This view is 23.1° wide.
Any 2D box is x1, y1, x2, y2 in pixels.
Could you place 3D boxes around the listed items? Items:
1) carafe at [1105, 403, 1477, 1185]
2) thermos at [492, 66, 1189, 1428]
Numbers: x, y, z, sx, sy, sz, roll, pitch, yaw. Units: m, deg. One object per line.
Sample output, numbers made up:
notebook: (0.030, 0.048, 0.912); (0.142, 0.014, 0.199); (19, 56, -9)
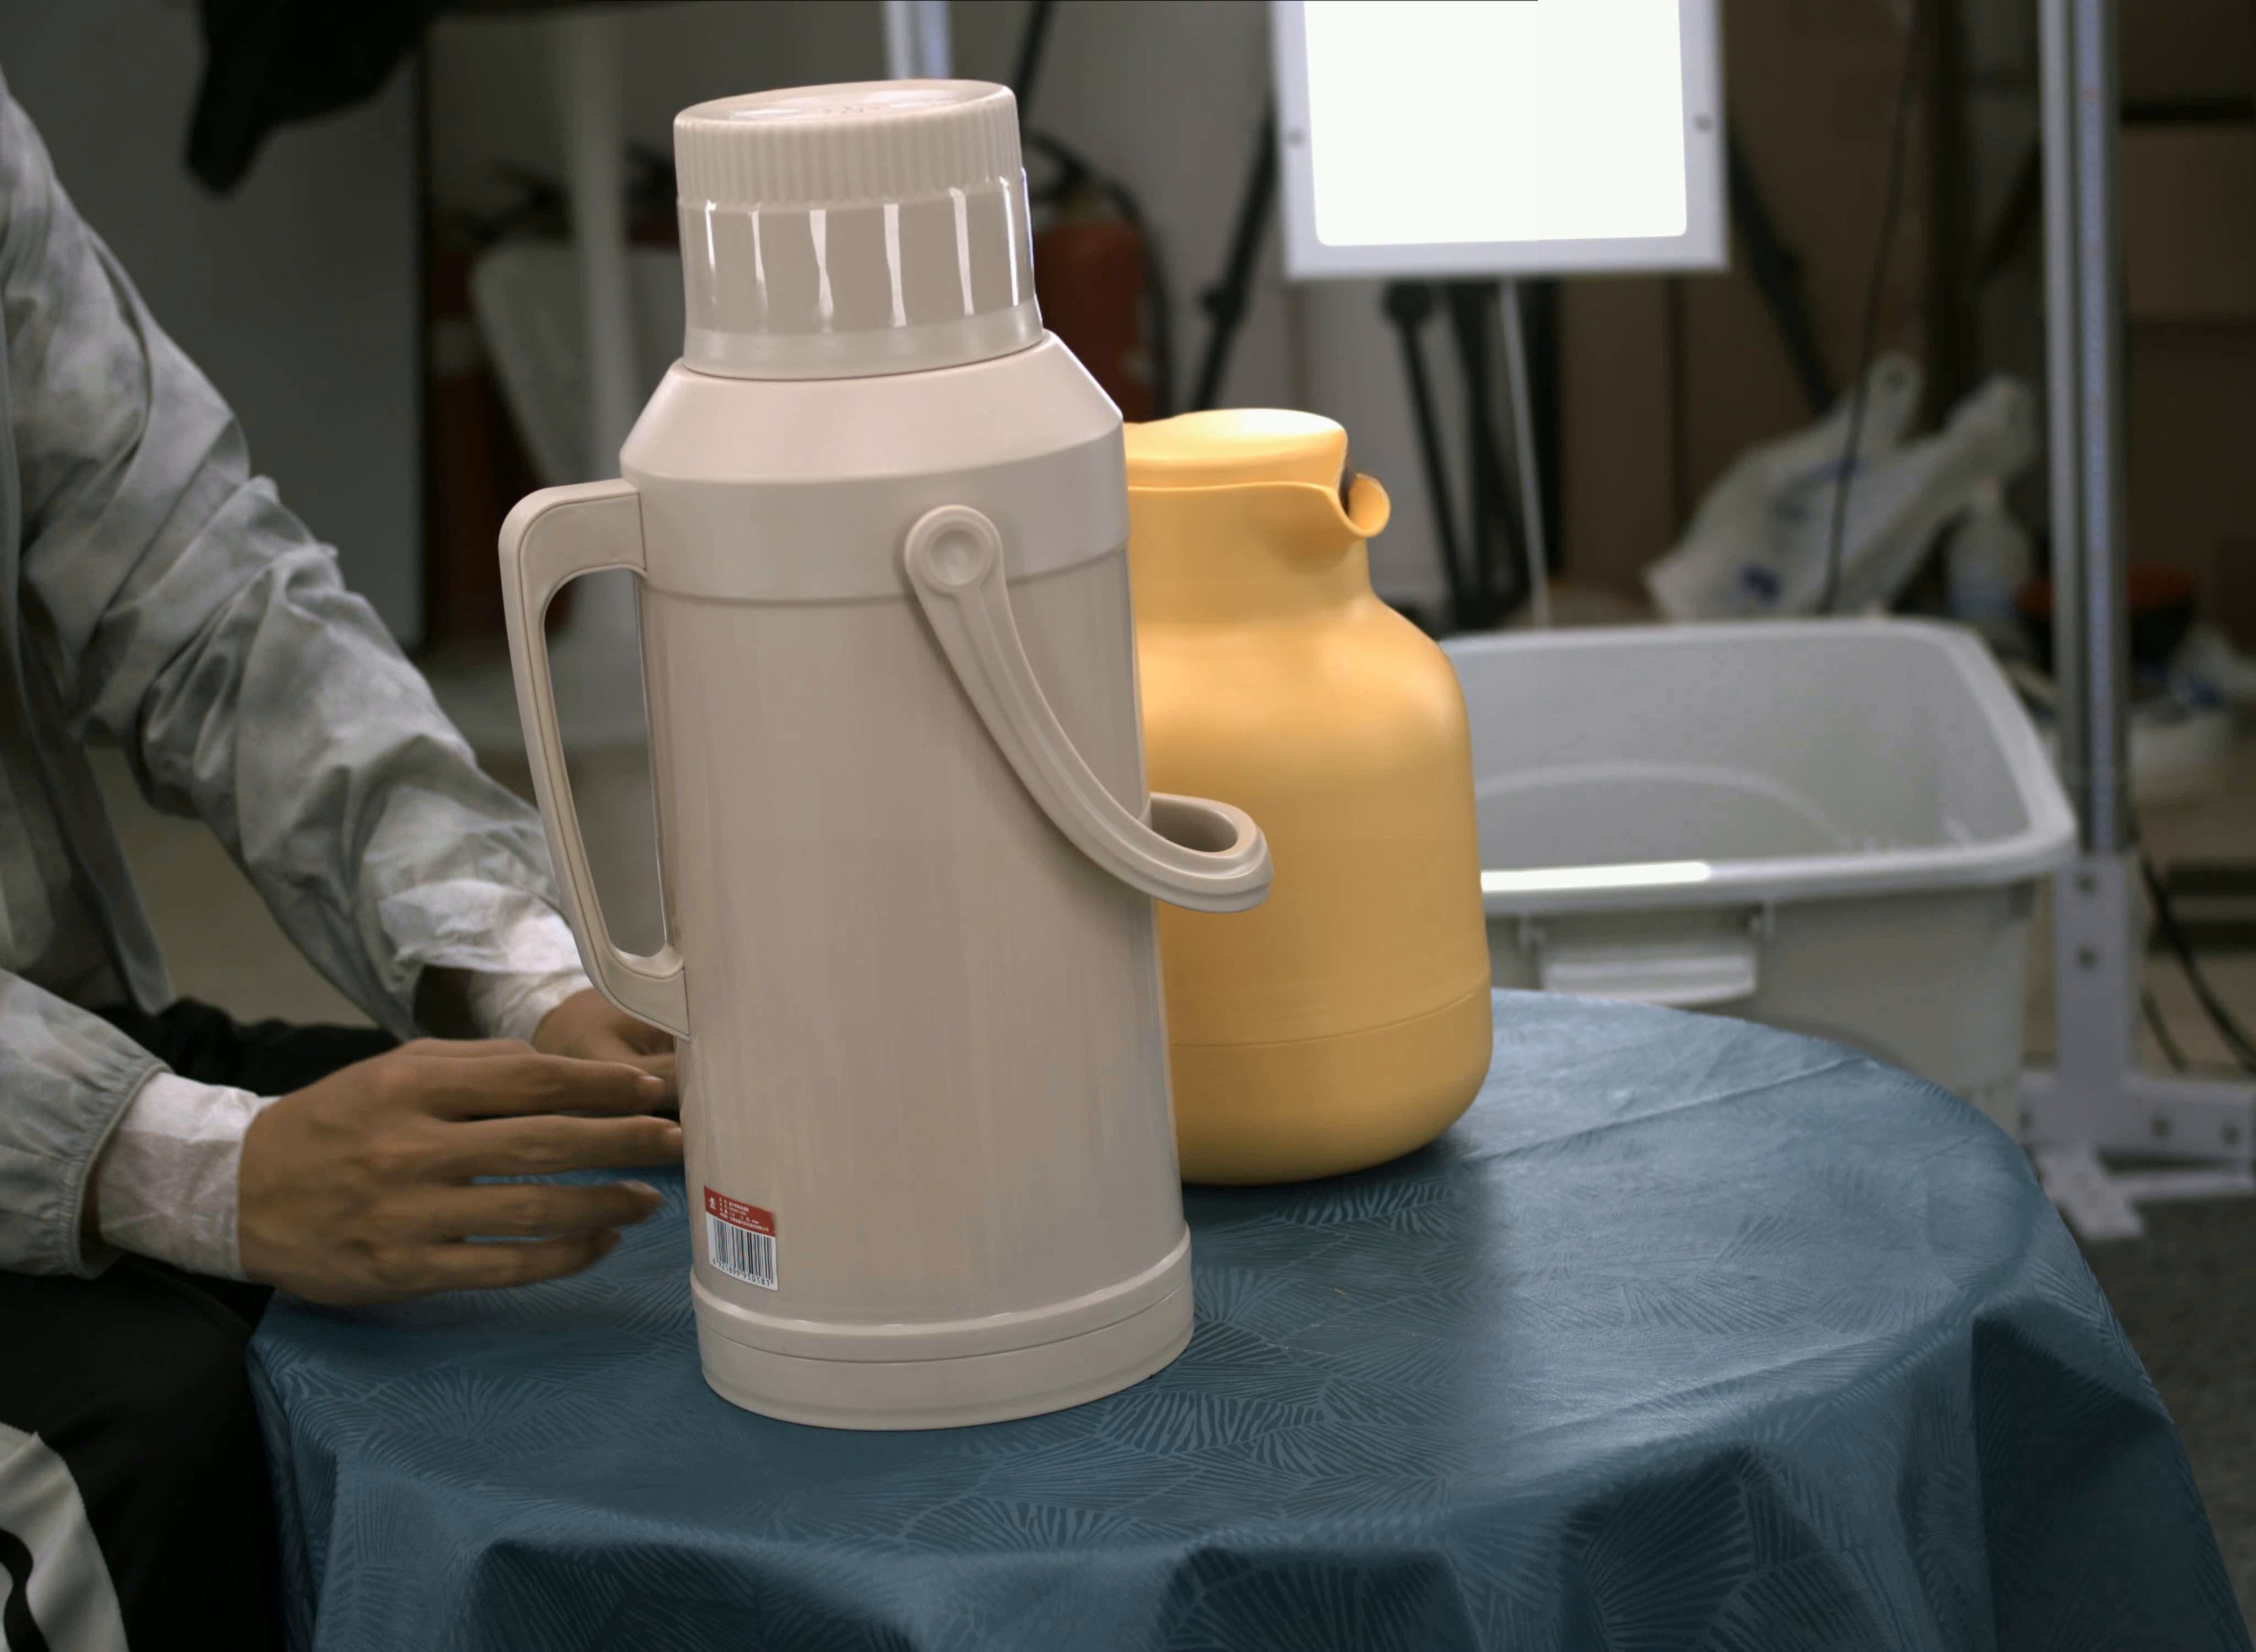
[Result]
carafe: (0.027, -0.018, 1.927); (0.159, 0.261, 0.206); (-12, 16, -37)
thermos: (-0.087, -0.025, 1.708); (0.204, 0.408, 0.177); (-8, 15, -15)
